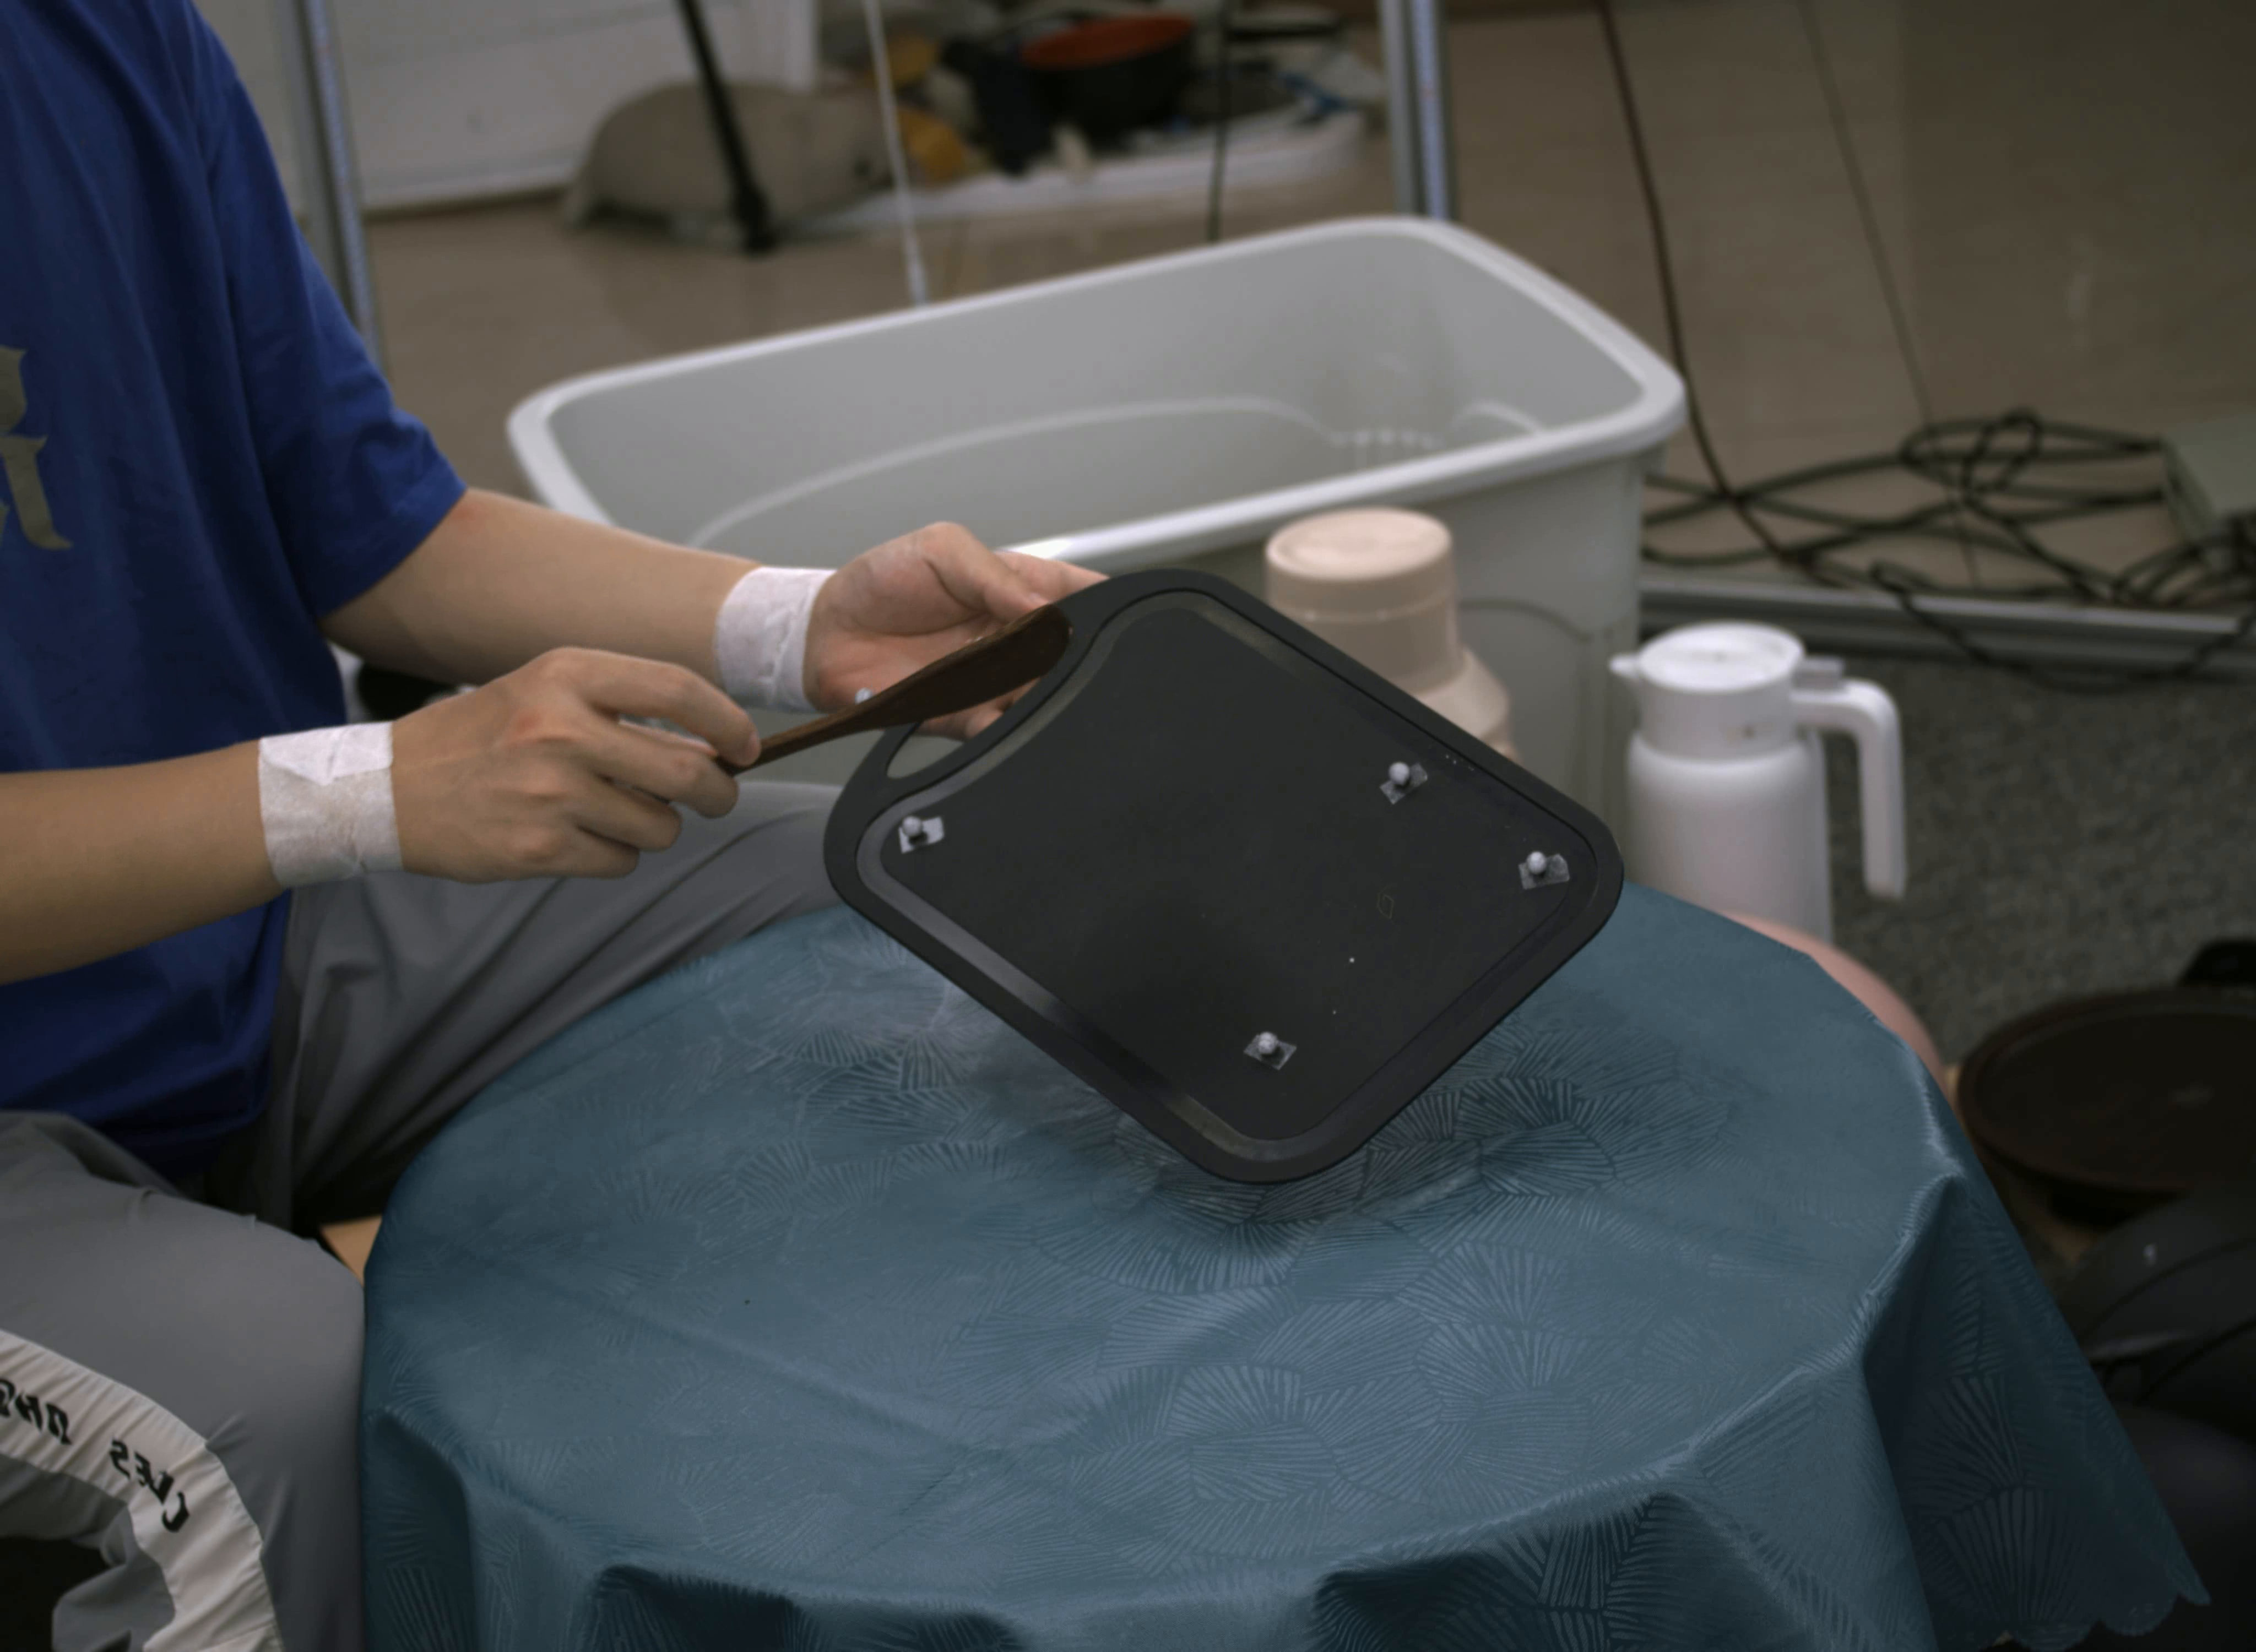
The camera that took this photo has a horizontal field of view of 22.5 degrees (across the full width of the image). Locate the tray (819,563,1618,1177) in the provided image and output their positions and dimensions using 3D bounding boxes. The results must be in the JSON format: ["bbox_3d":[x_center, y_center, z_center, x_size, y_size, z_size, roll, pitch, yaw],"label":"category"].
[{"bbox_3d":[0.024,0.007,2.206,0.210,0.010,0.321,-41,49,-16],"label":"tray"}]

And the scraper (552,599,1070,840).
[{"bbox_3d":[-0.119,-0.037,2.142,0.211,0.011,0.076,-21,-14,-1],"label":"scraper"}]
